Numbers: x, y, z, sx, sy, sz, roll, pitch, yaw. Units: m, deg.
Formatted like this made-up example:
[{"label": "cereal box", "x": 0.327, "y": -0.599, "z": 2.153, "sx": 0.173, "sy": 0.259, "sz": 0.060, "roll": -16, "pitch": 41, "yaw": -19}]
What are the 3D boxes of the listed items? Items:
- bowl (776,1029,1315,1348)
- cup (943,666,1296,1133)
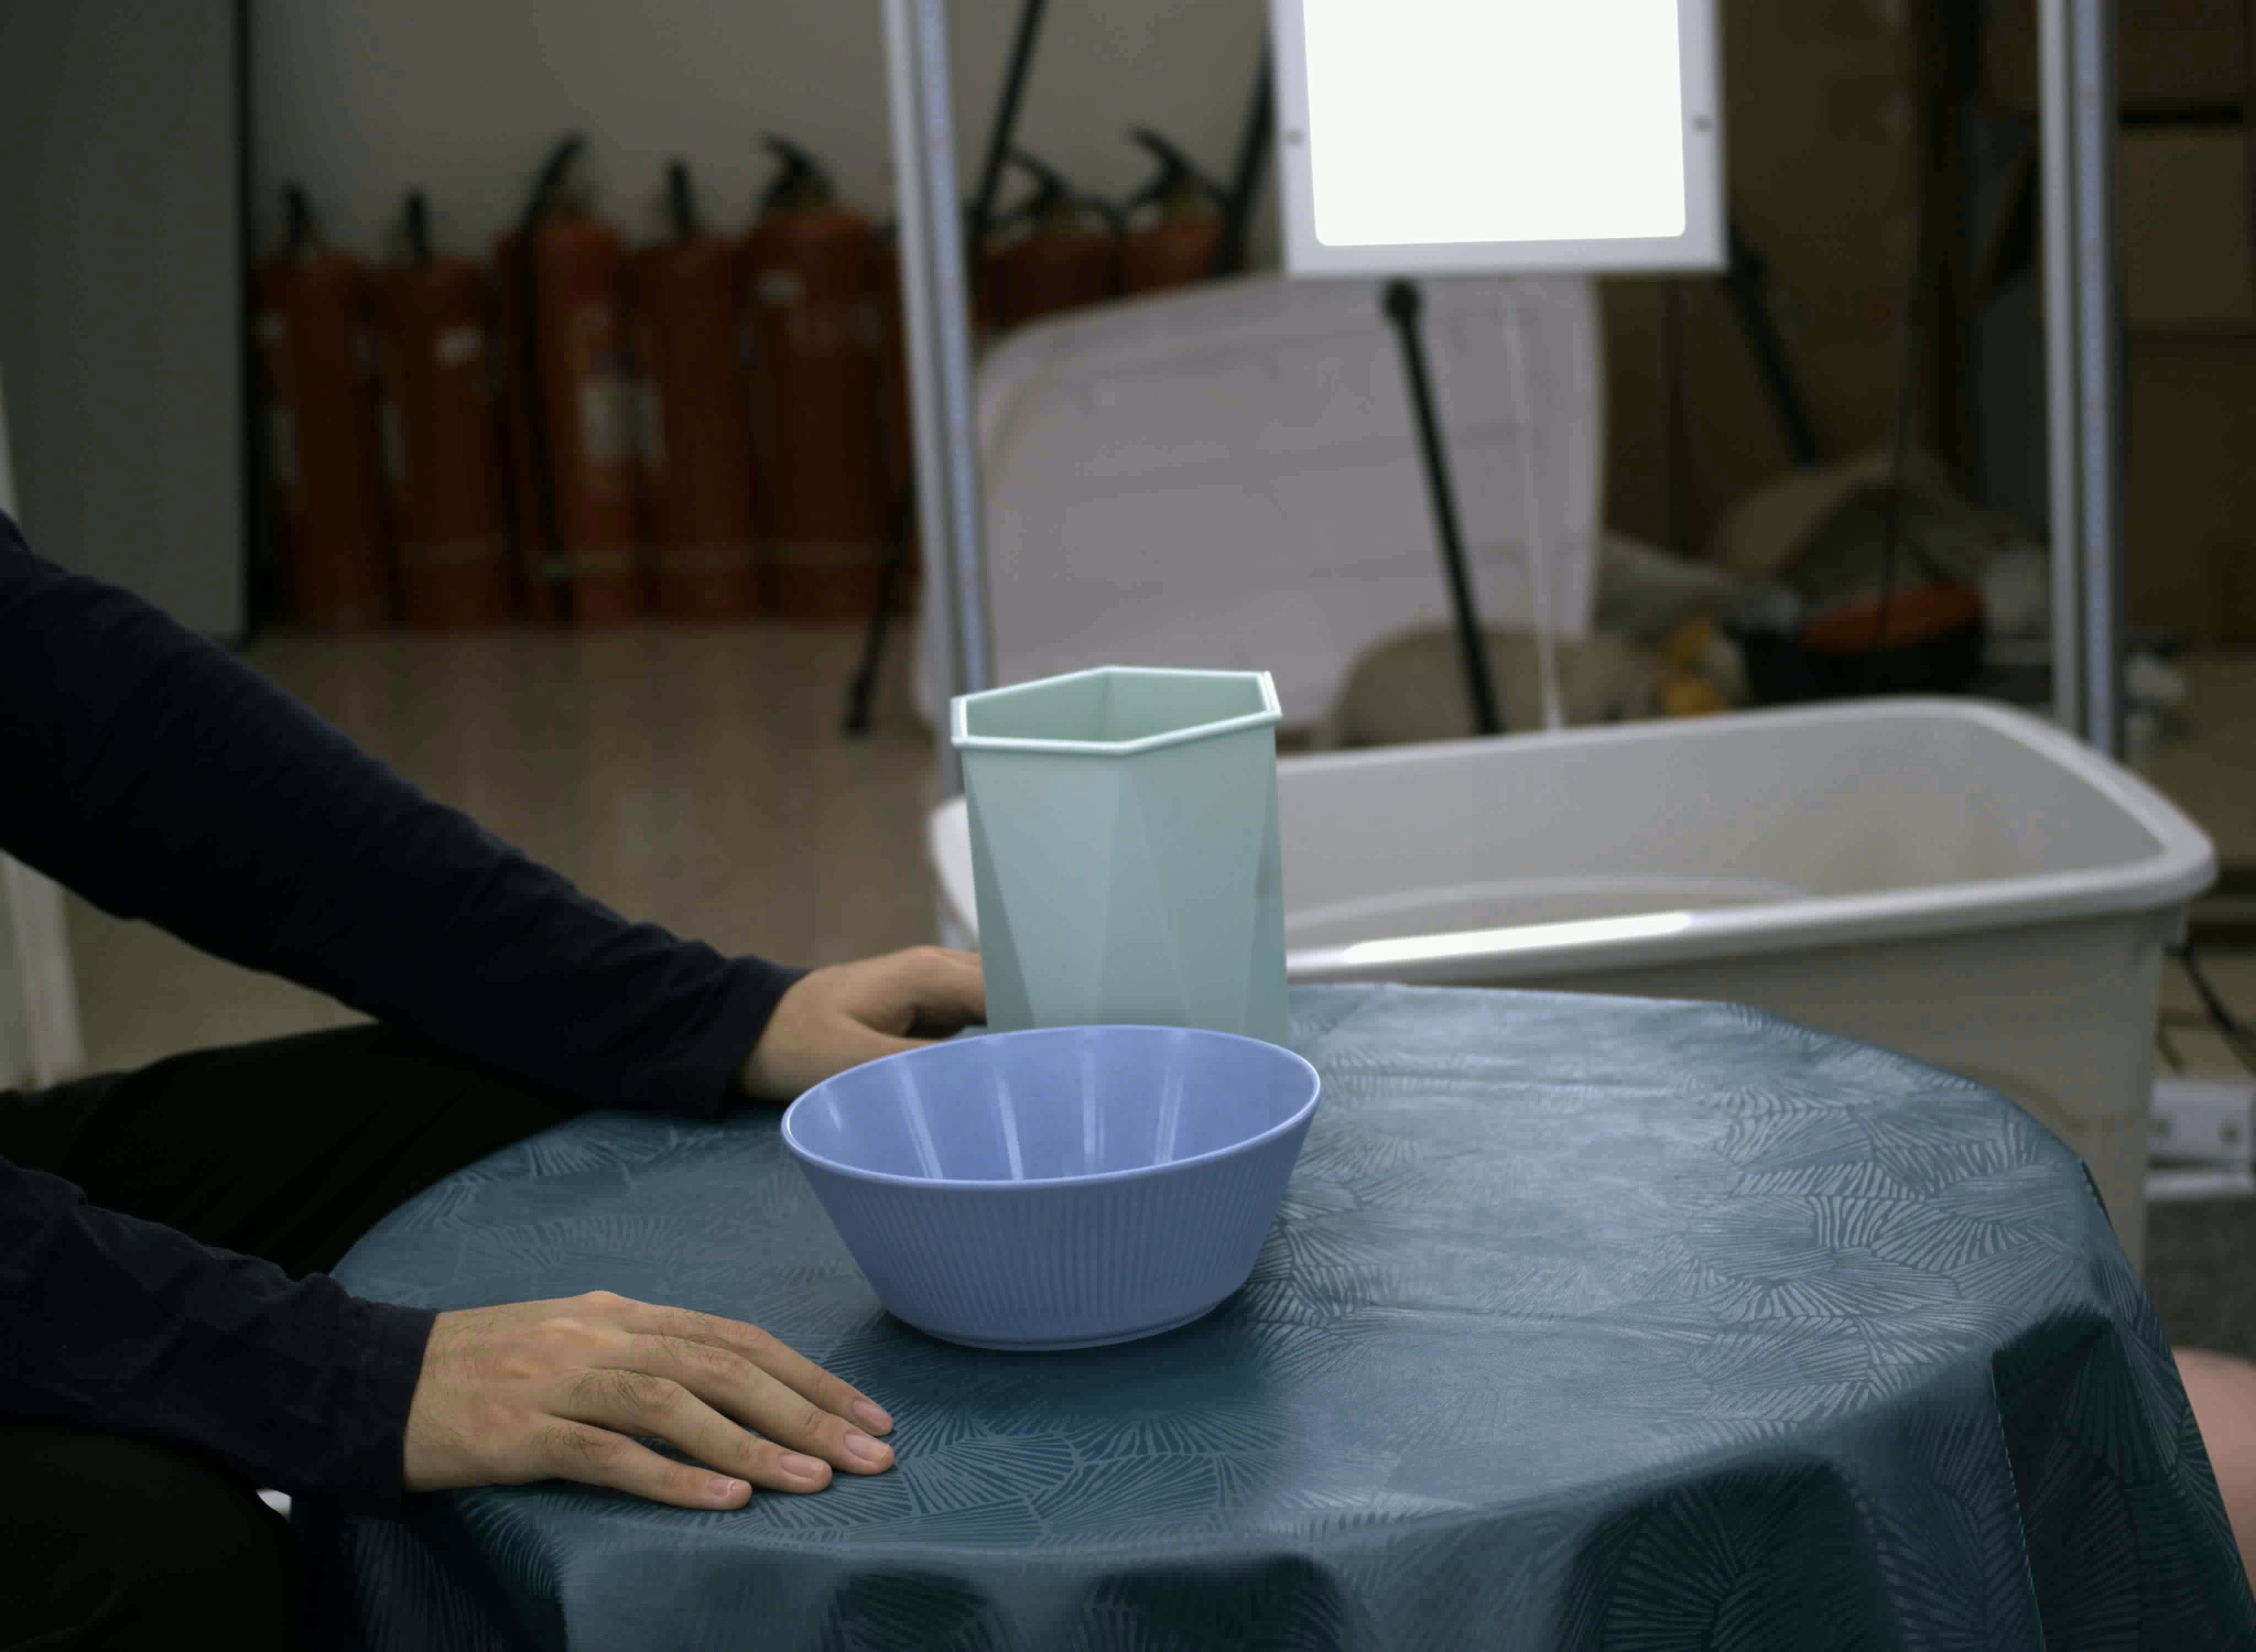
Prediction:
[{"label": "bowl", "x": -0.024, "y": 0.120, "z": 1.786, "sx": 0.175, "sy": 0.070, "sz": 0.176, "roll": -5, "pitch": 13, "yaw": 0}, {"label": "cup", "x": 0.001, "y": 0.034, "z": 1.934, "sx": 0.115, "sy": 0.163, "sz": 0.131, "roll": -7, "pitch": 13, "yaw": -1}]
